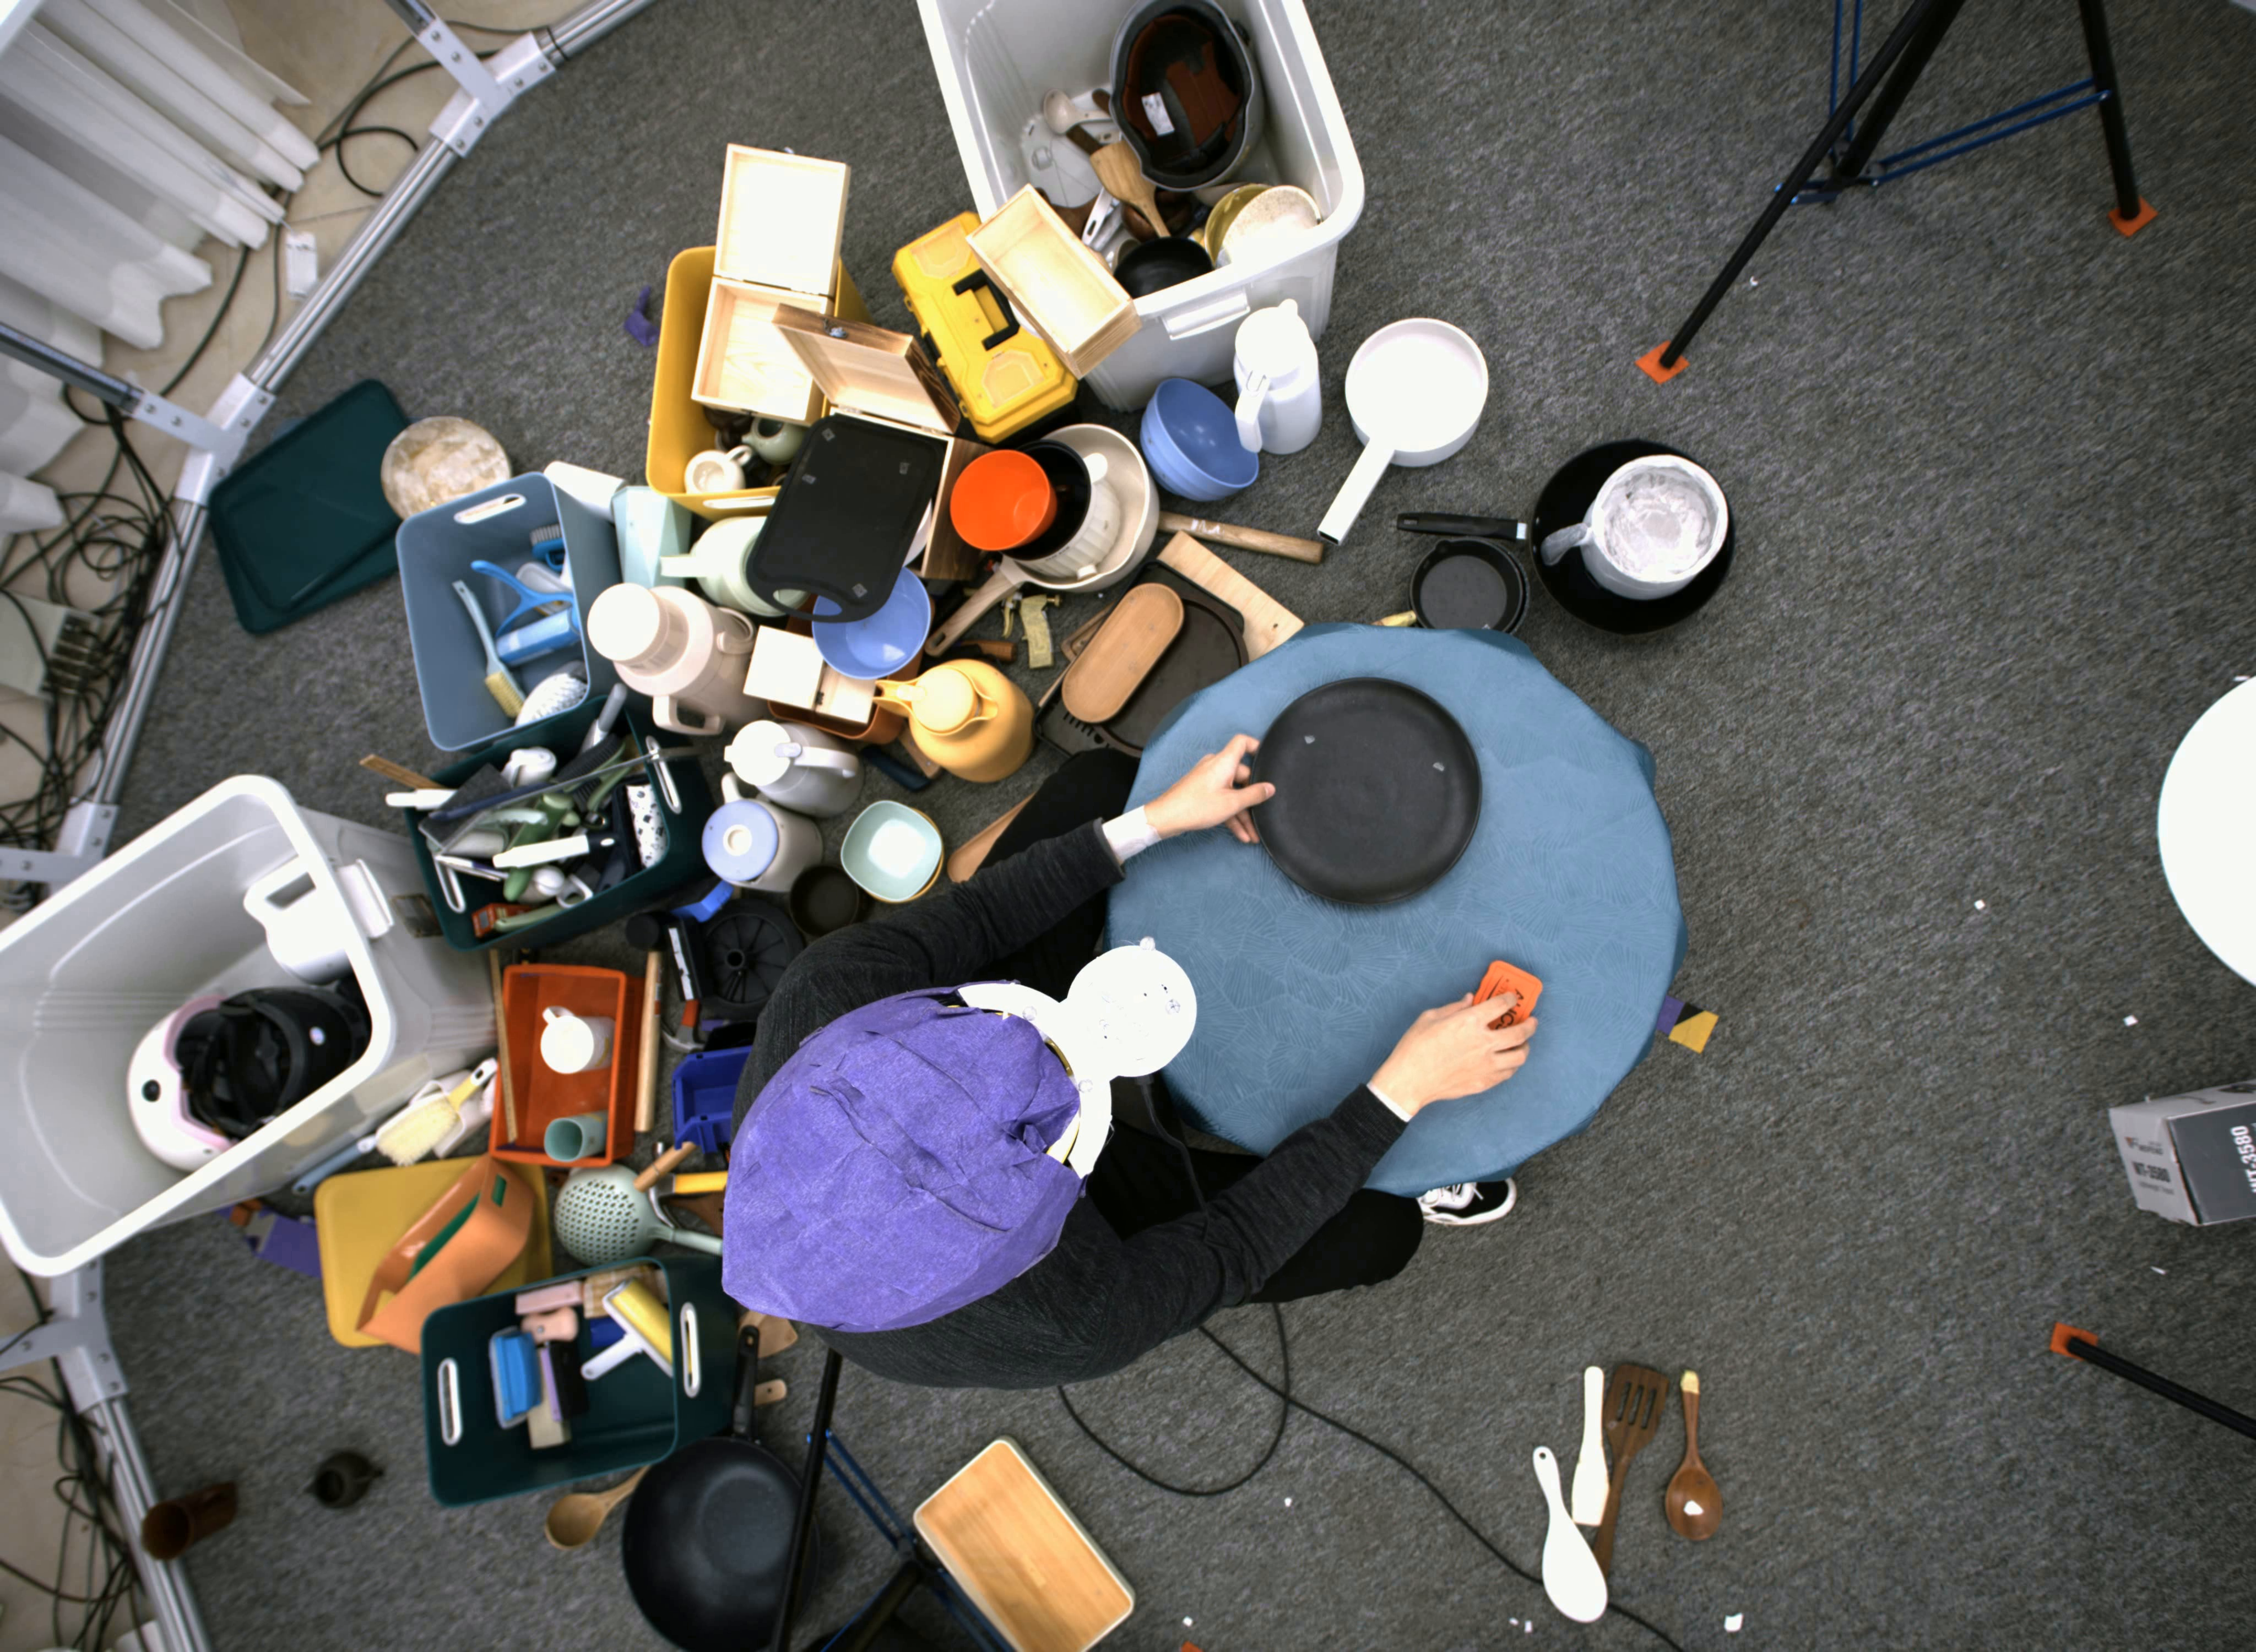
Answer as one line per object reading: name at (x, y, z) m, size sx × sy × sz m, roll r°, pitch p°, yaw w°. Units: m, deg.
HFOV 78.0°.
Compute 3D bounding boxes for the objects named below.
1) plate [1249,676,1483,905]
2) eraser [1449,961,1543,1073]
plate at (0.250, -0.039, 1.458) m, size 0.245 × 0.023 × 0.243 m, roll -1°, pitch 87°, yaw 10°
eraser at (0.379, 0.194, 1.420) m, size 0.059 × 0.023 × 0.108 m, roll 28°, pitch 91°, yaw 13°
